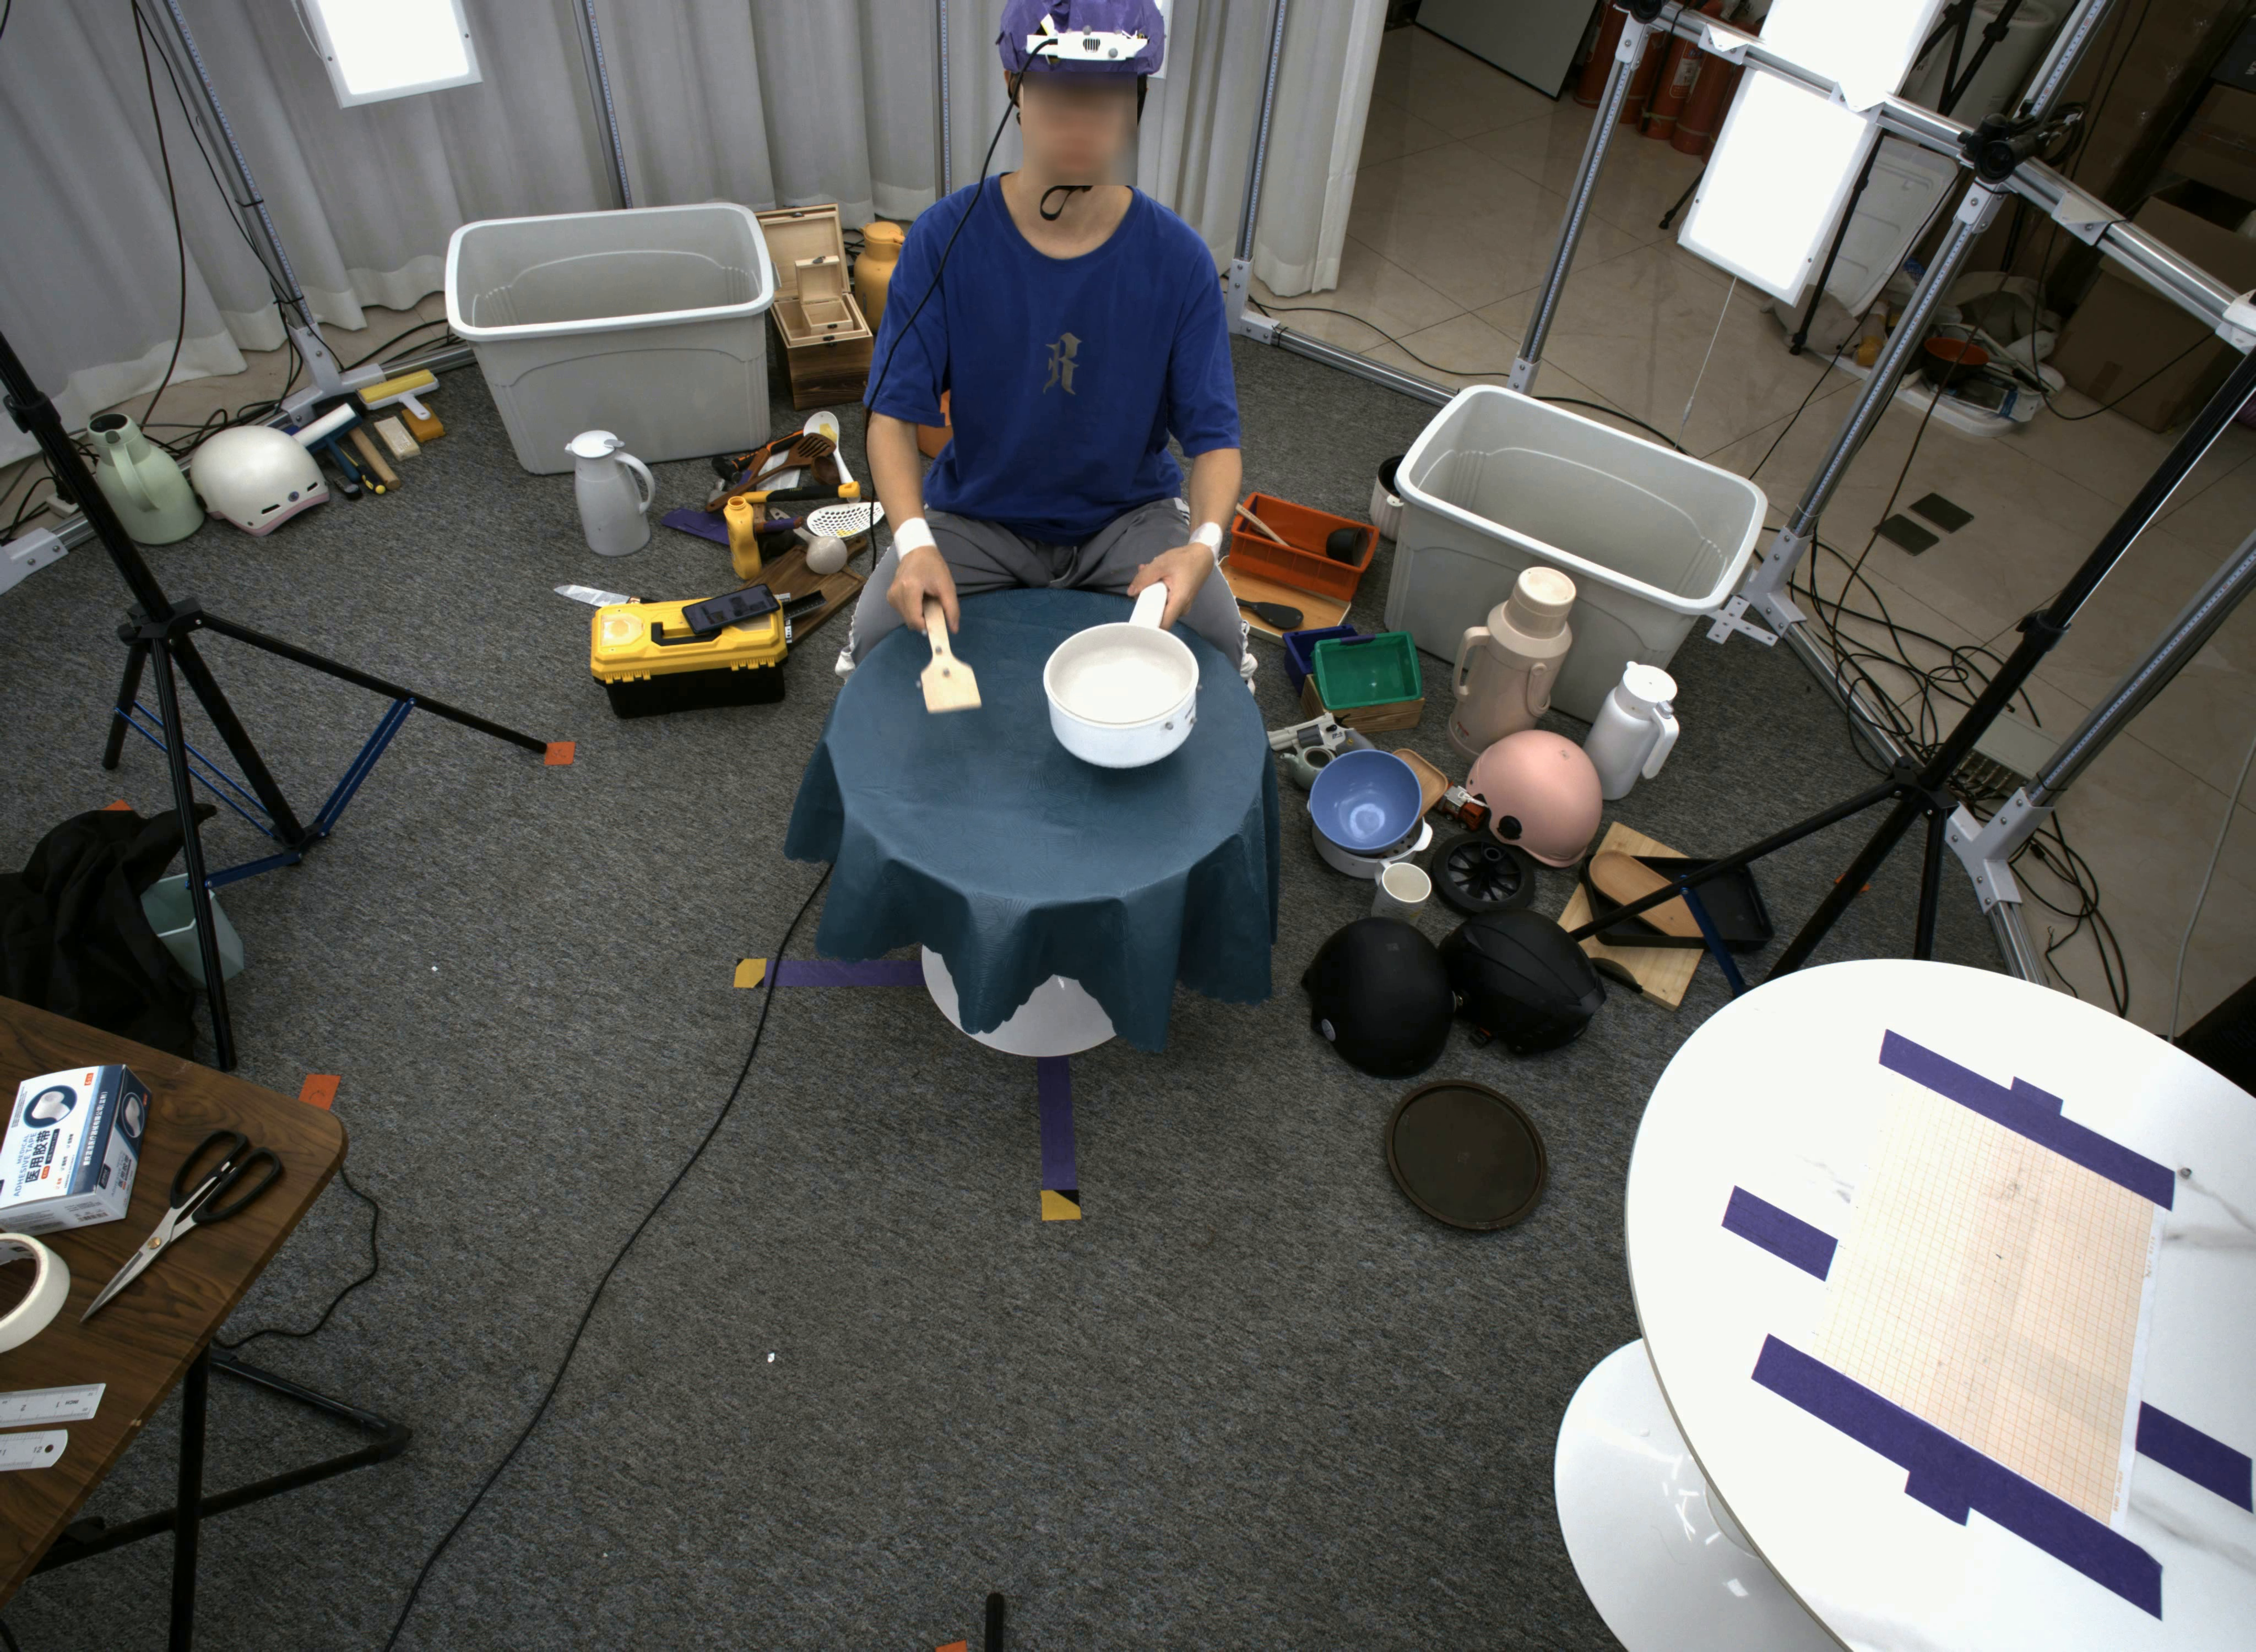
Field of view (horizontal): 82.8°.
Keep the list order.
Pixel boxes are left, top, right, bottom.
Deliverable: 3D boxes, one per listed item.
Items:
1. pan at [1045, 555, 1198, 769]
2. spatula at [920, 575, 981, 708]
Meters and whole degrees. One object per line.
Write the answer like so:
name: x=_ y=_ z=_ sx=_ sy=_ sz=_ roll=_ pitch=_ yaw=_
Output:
pan: x=0.013 y=-0.225 z=1.754 sx=0.202 sy=0.099 sz=0.362 roll=7 pitch=49 yaw=13
spatula: x=-0.254 y=-0.255 z=1.745 sx=0.072 sy=0.010 sz=0.300 roll=-10 pitch=45 yaw=-8
